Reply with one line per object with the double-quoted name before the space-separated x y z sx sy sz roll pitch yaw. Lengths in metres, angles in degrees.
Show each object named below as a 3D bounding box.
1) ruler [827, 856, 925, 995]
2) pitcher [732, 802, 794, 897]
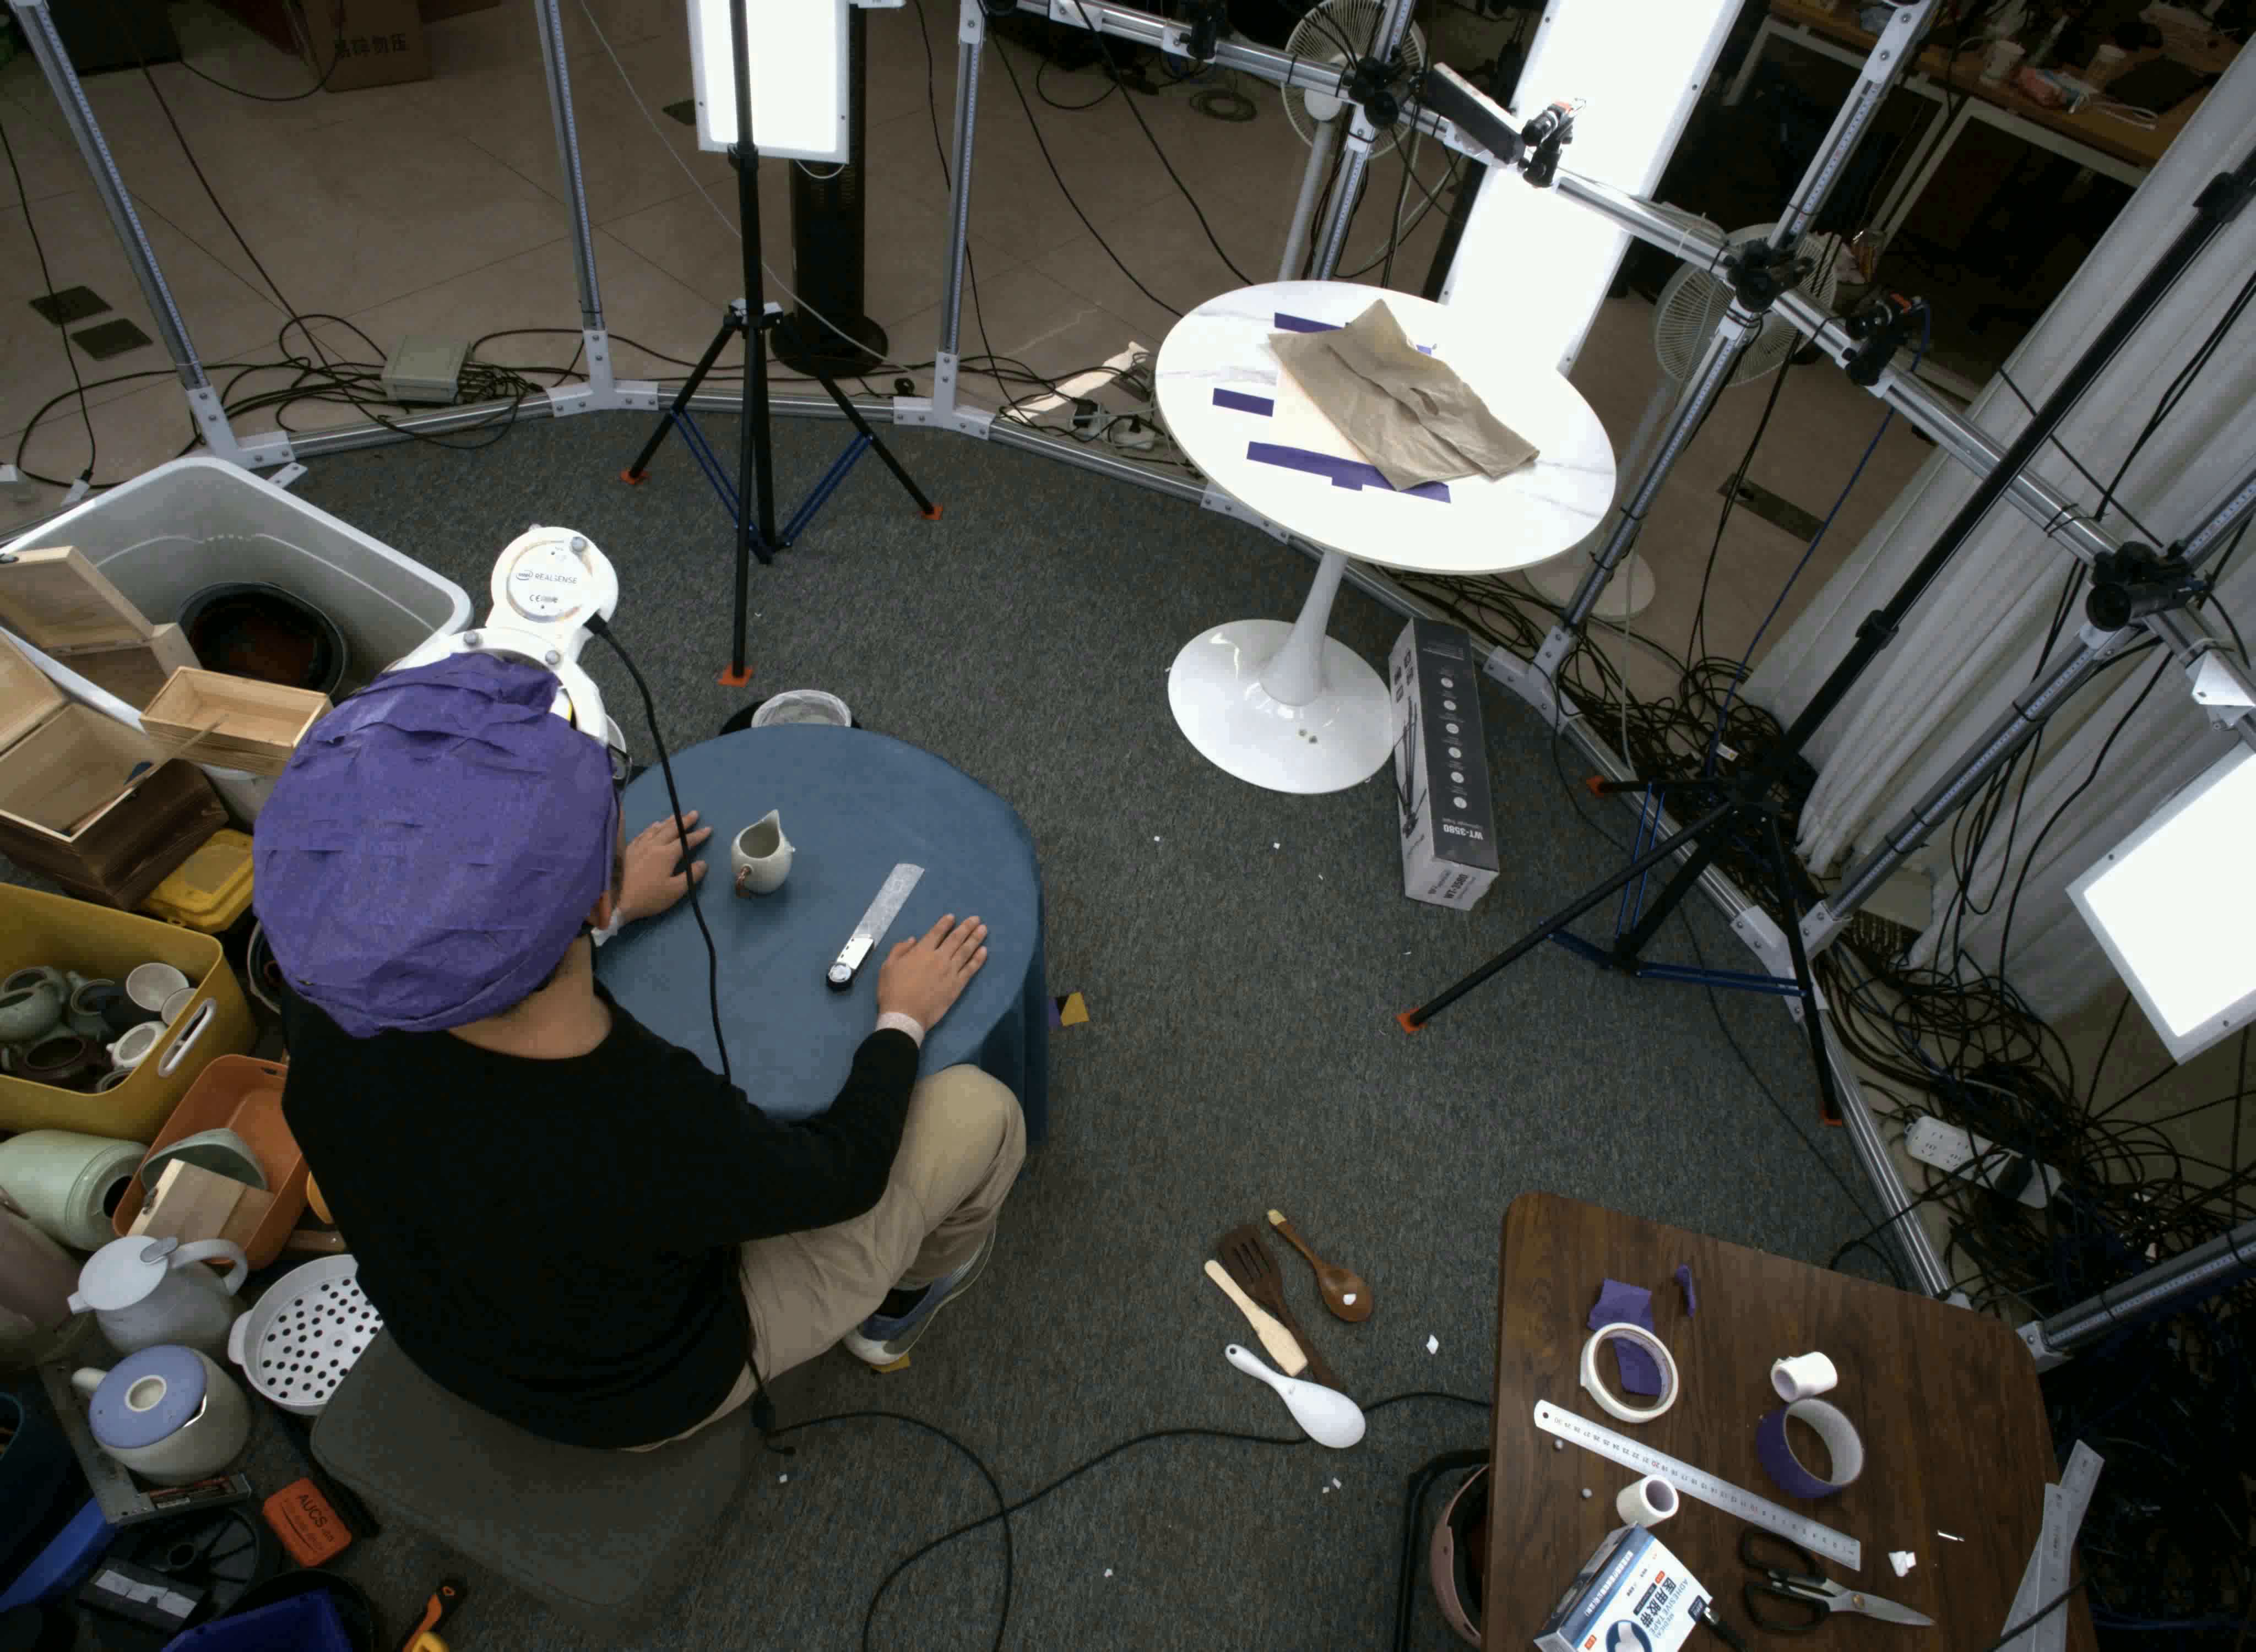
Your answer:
"ruler" -0.318 0.118 1.644 0.038 0.024 0.216 27 53 -1
"pitcher" -0.461 0.040 1.623 0.075 0.090 0.118 18 49 6
